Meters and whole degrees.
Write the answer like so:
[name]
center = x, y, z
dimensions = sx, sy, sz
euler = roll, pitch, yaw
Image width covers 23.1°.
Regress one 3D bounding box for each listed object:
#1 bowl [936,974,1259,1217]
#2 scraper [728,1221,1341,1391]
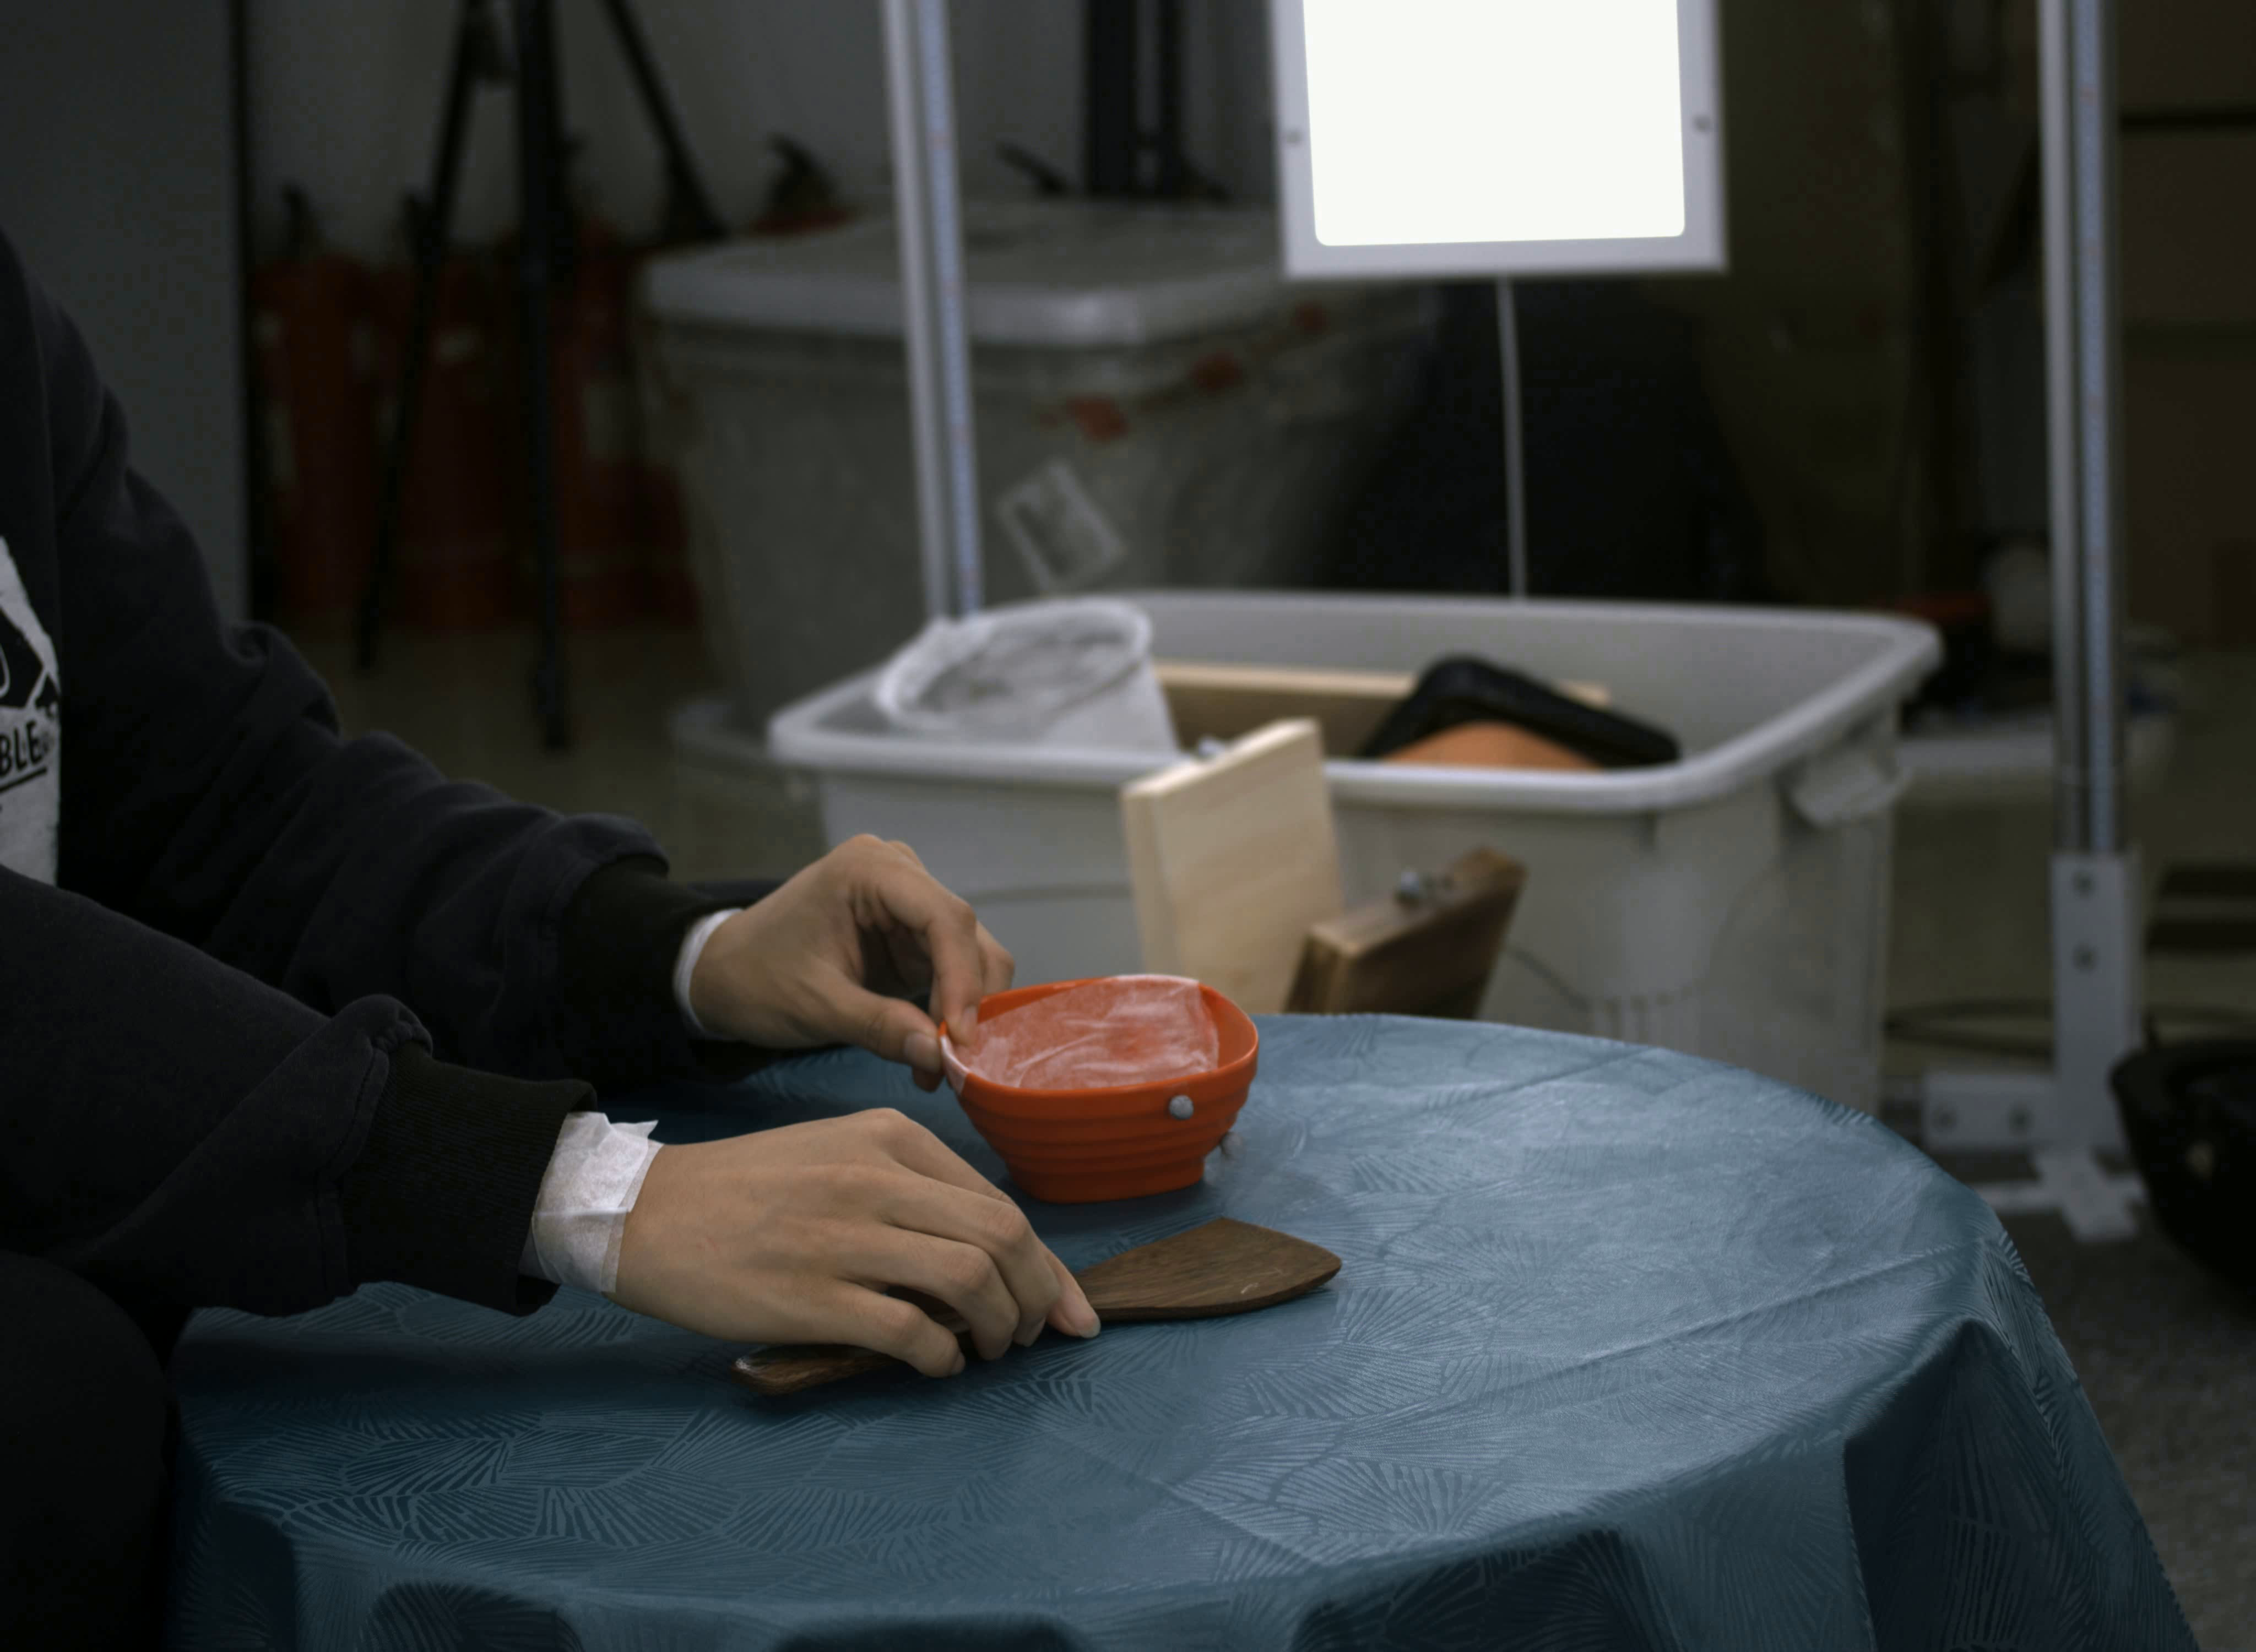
[bowl]
center = -0.010, 0.098, 1.916
dimensions = 0.118, 0.051, 0.118
euler = -4, 22, 0
[scraper]
center = -0.032, 0.156, 1.760
dimensions = 0.206, 0.011, 0.077
euler = -10, 14, -30
